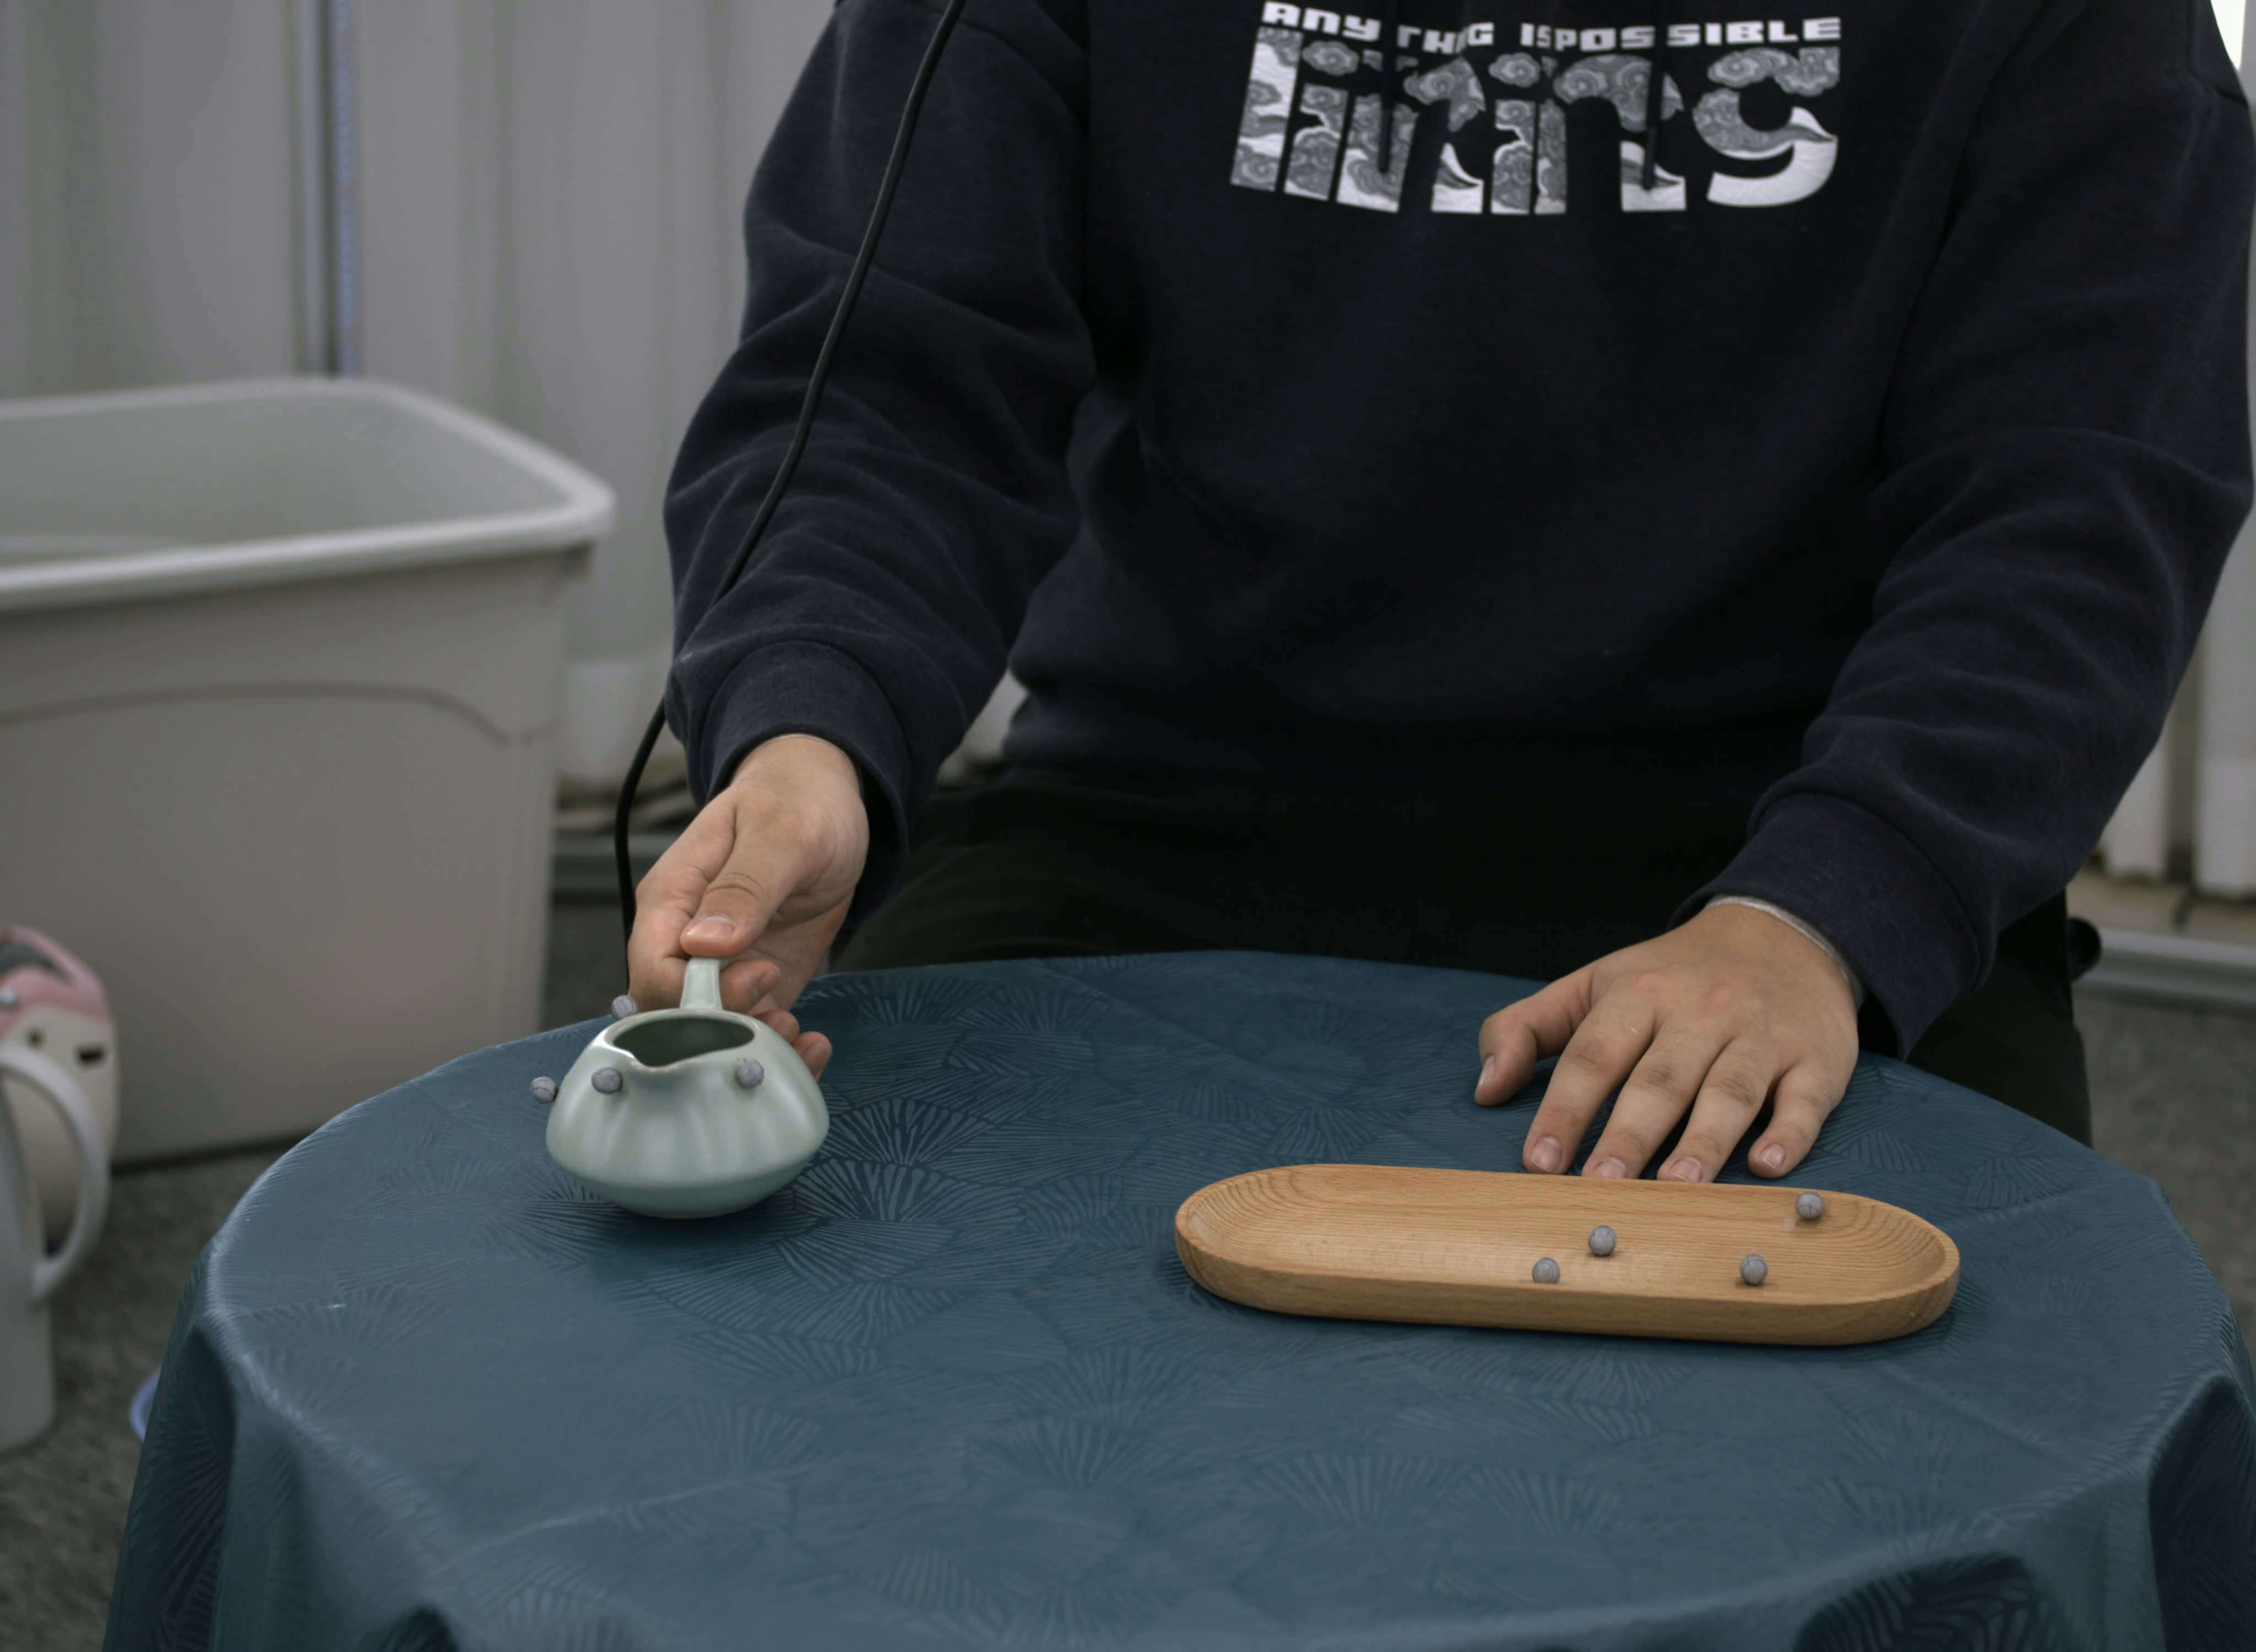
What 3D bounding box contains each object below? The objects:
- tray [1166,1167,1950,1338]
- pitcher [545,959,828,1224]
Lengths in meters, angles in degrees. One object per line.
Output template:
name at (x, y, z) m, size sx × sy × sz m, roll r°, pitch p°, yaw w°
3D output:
tray at (0.126, 0.126, 1.554) m, size 0.230 × 0.020 × 0.101 m, roll 1°, pitch 14°, yaw 7°
pitcher at (-0.133, 0.082, 1.608) m, size 0.085 × 0.061 × 0.107 m, roll 2°, pitch 18°, yaw 4°
